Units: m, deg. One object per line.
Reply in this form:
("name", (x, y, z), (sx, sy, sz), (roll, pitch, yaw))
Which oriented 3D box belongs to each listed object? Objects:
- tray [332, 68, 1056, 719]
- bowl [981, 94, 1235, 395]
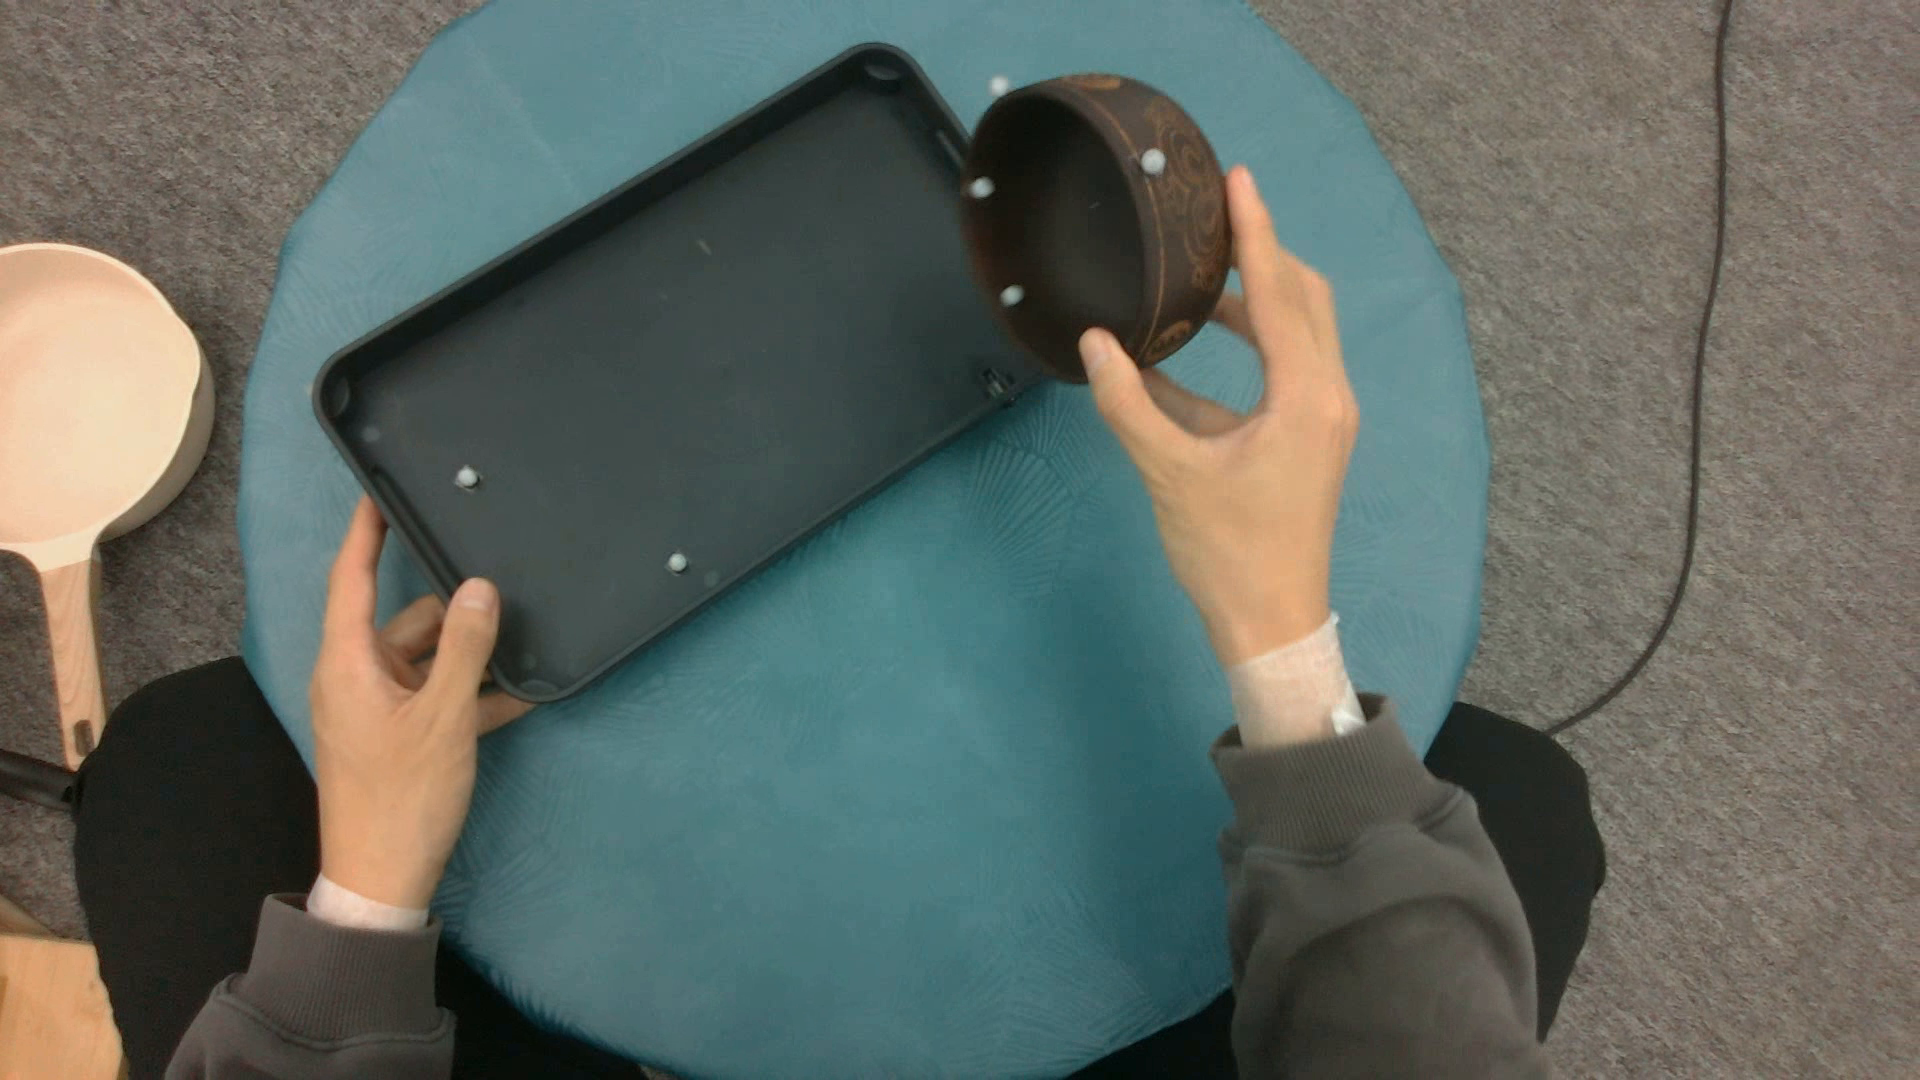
("tray", (-0.112, -0.074, 0.656), (0.318, 0.037, 0.184), (-36, 85, -12))
("bowl", (0.068, -0.124, 0.565), (0.070, 0.117, 0.118), (-22, 82, -24))
